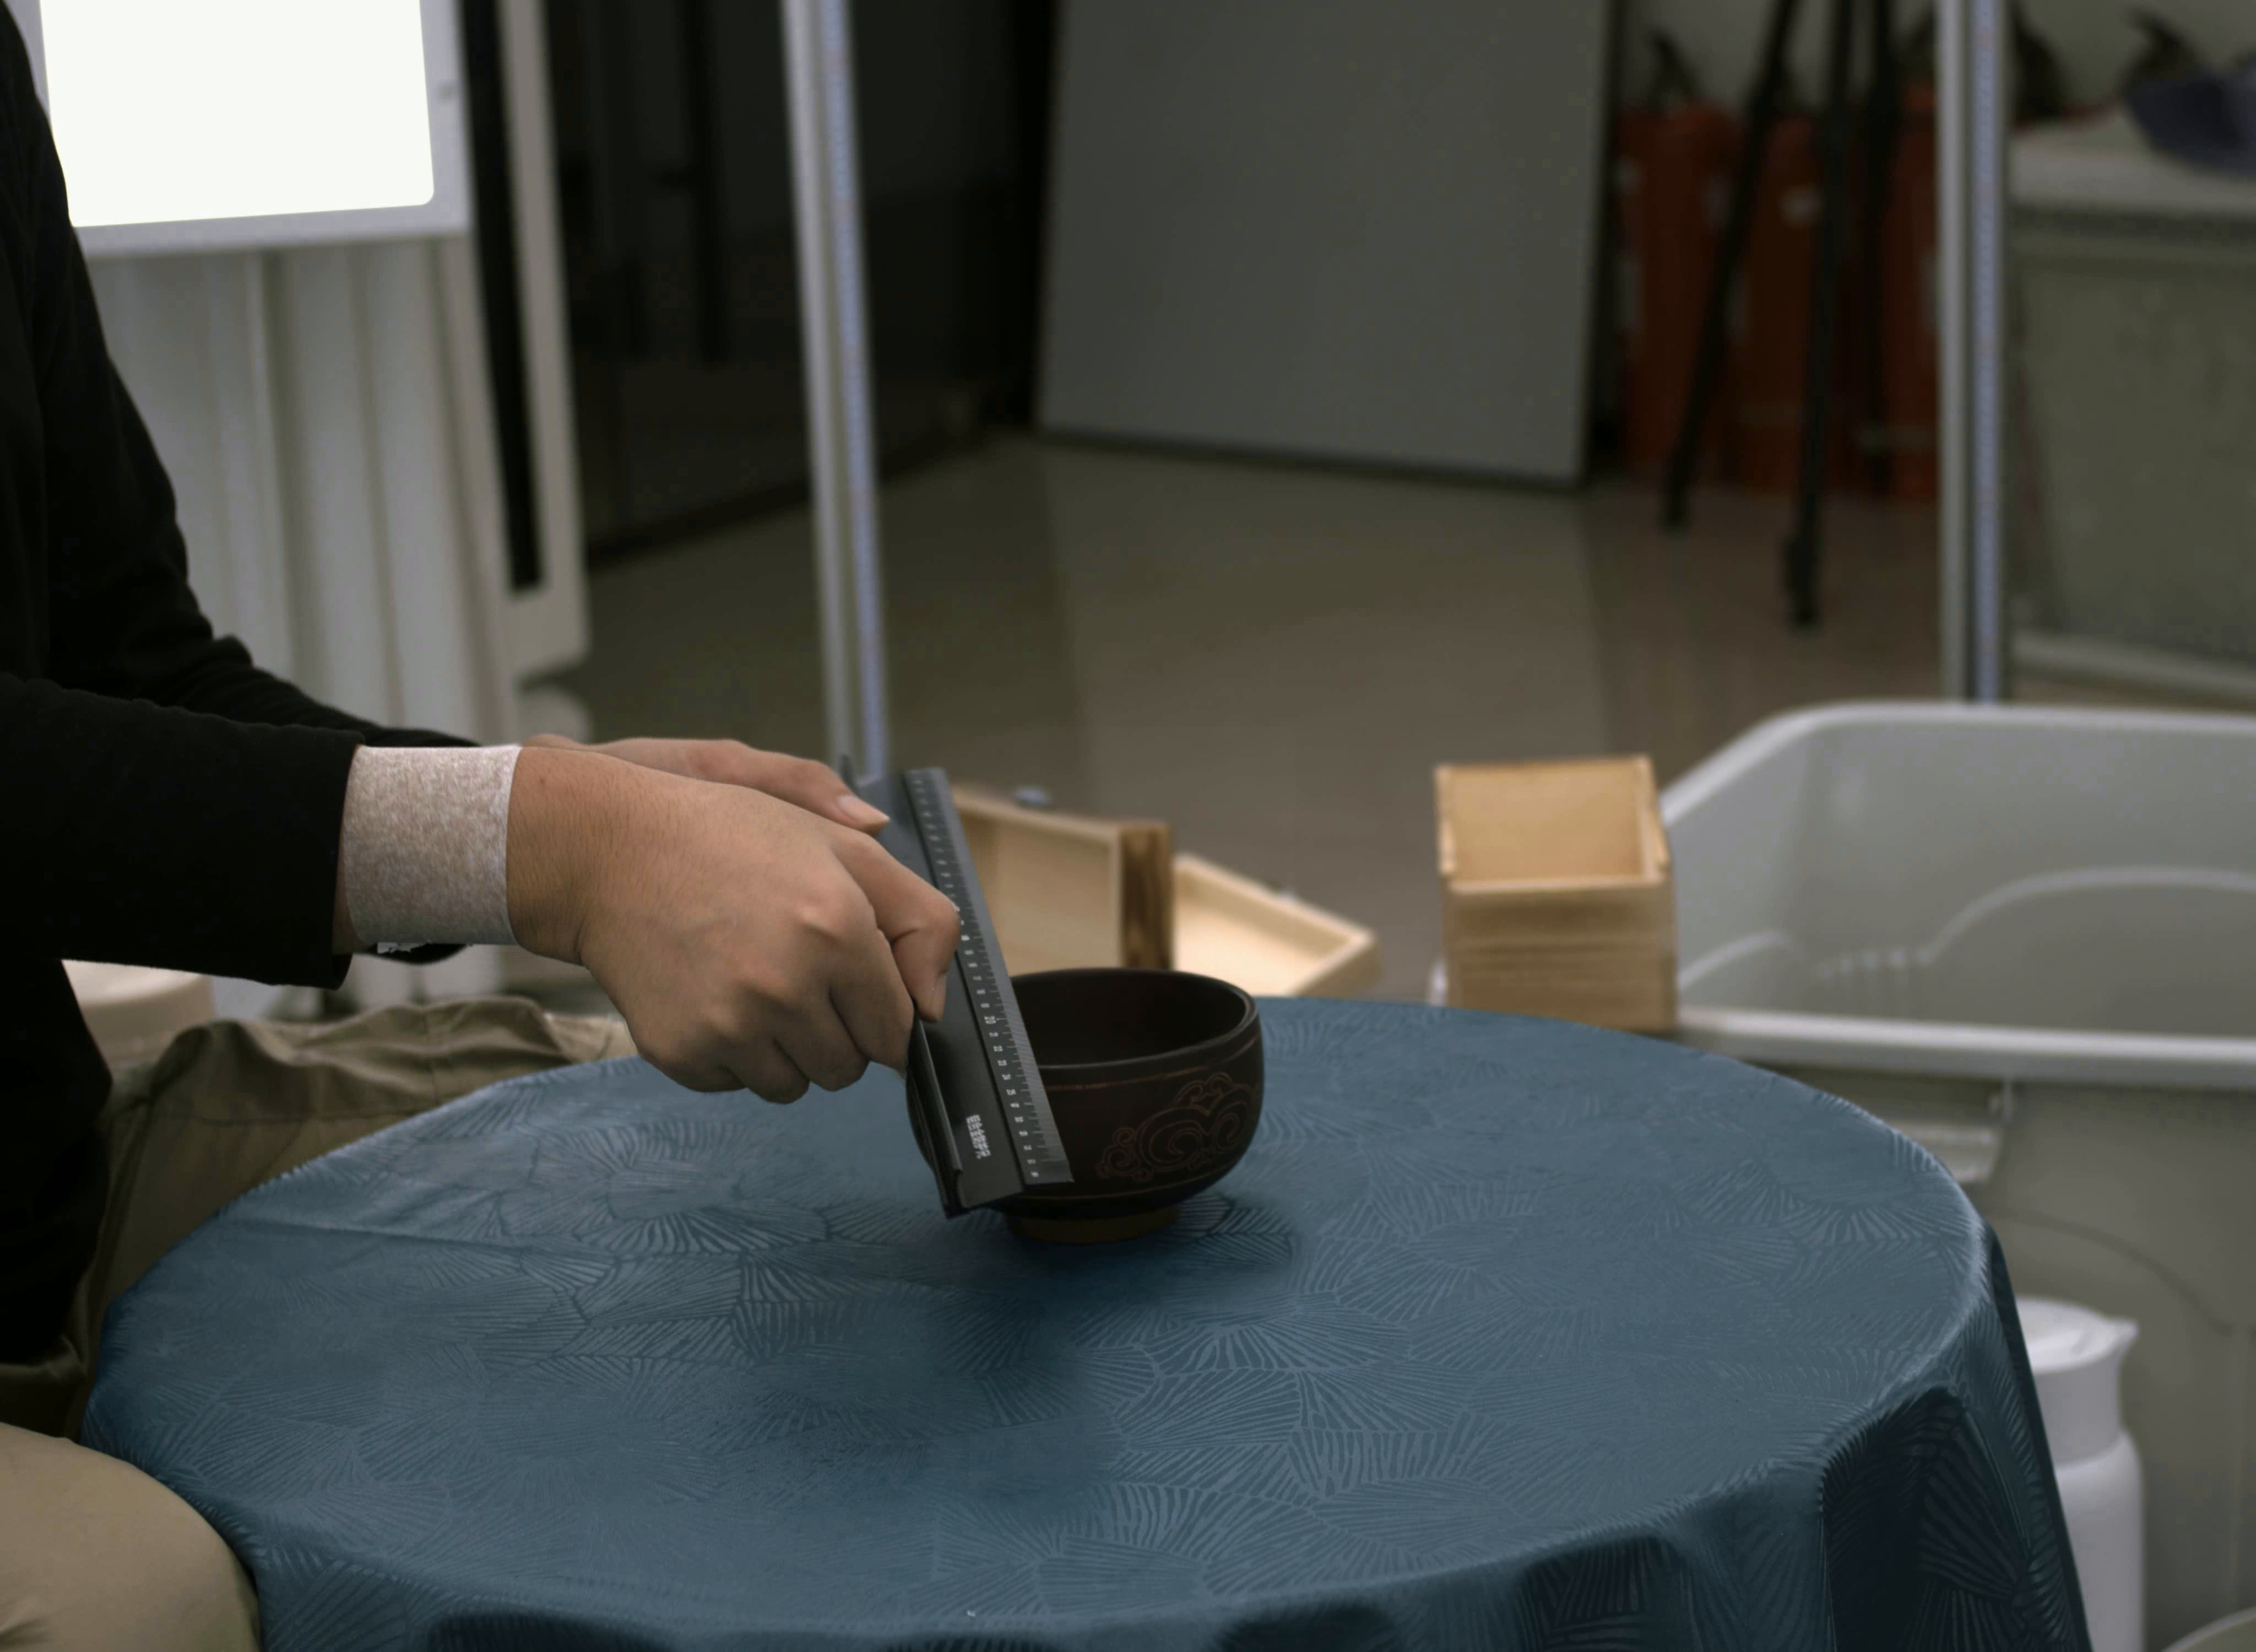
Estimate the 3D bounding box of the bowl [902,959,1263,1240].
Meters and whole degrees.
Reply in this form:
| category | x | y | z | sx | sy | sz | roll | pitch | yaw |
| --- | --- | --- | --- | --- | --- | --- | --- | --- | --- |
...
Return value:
| category | x | y | z | sx | sy | sz | roll | pitch | yaw |
| --- | --- | --- | --- | --- | --- | --- | --- | --- | --- |
| bowl | -0.014 | 0.091 | 1.739 | 0.116 | 0.070 | 0.118 | -3 | 13 | 0 |

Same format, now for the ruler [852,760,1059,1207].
| category | x | y | z | sx | sy | sz | roll | pitch | yaw |
| --- | --- | --- | --- | --- | --- | --- | --- | --- | --- |
| ruler | -0.056 | 0.039 | 1.676 | 0.039 | 0.017 | 0.314 | -13 | 23 | -2 |
